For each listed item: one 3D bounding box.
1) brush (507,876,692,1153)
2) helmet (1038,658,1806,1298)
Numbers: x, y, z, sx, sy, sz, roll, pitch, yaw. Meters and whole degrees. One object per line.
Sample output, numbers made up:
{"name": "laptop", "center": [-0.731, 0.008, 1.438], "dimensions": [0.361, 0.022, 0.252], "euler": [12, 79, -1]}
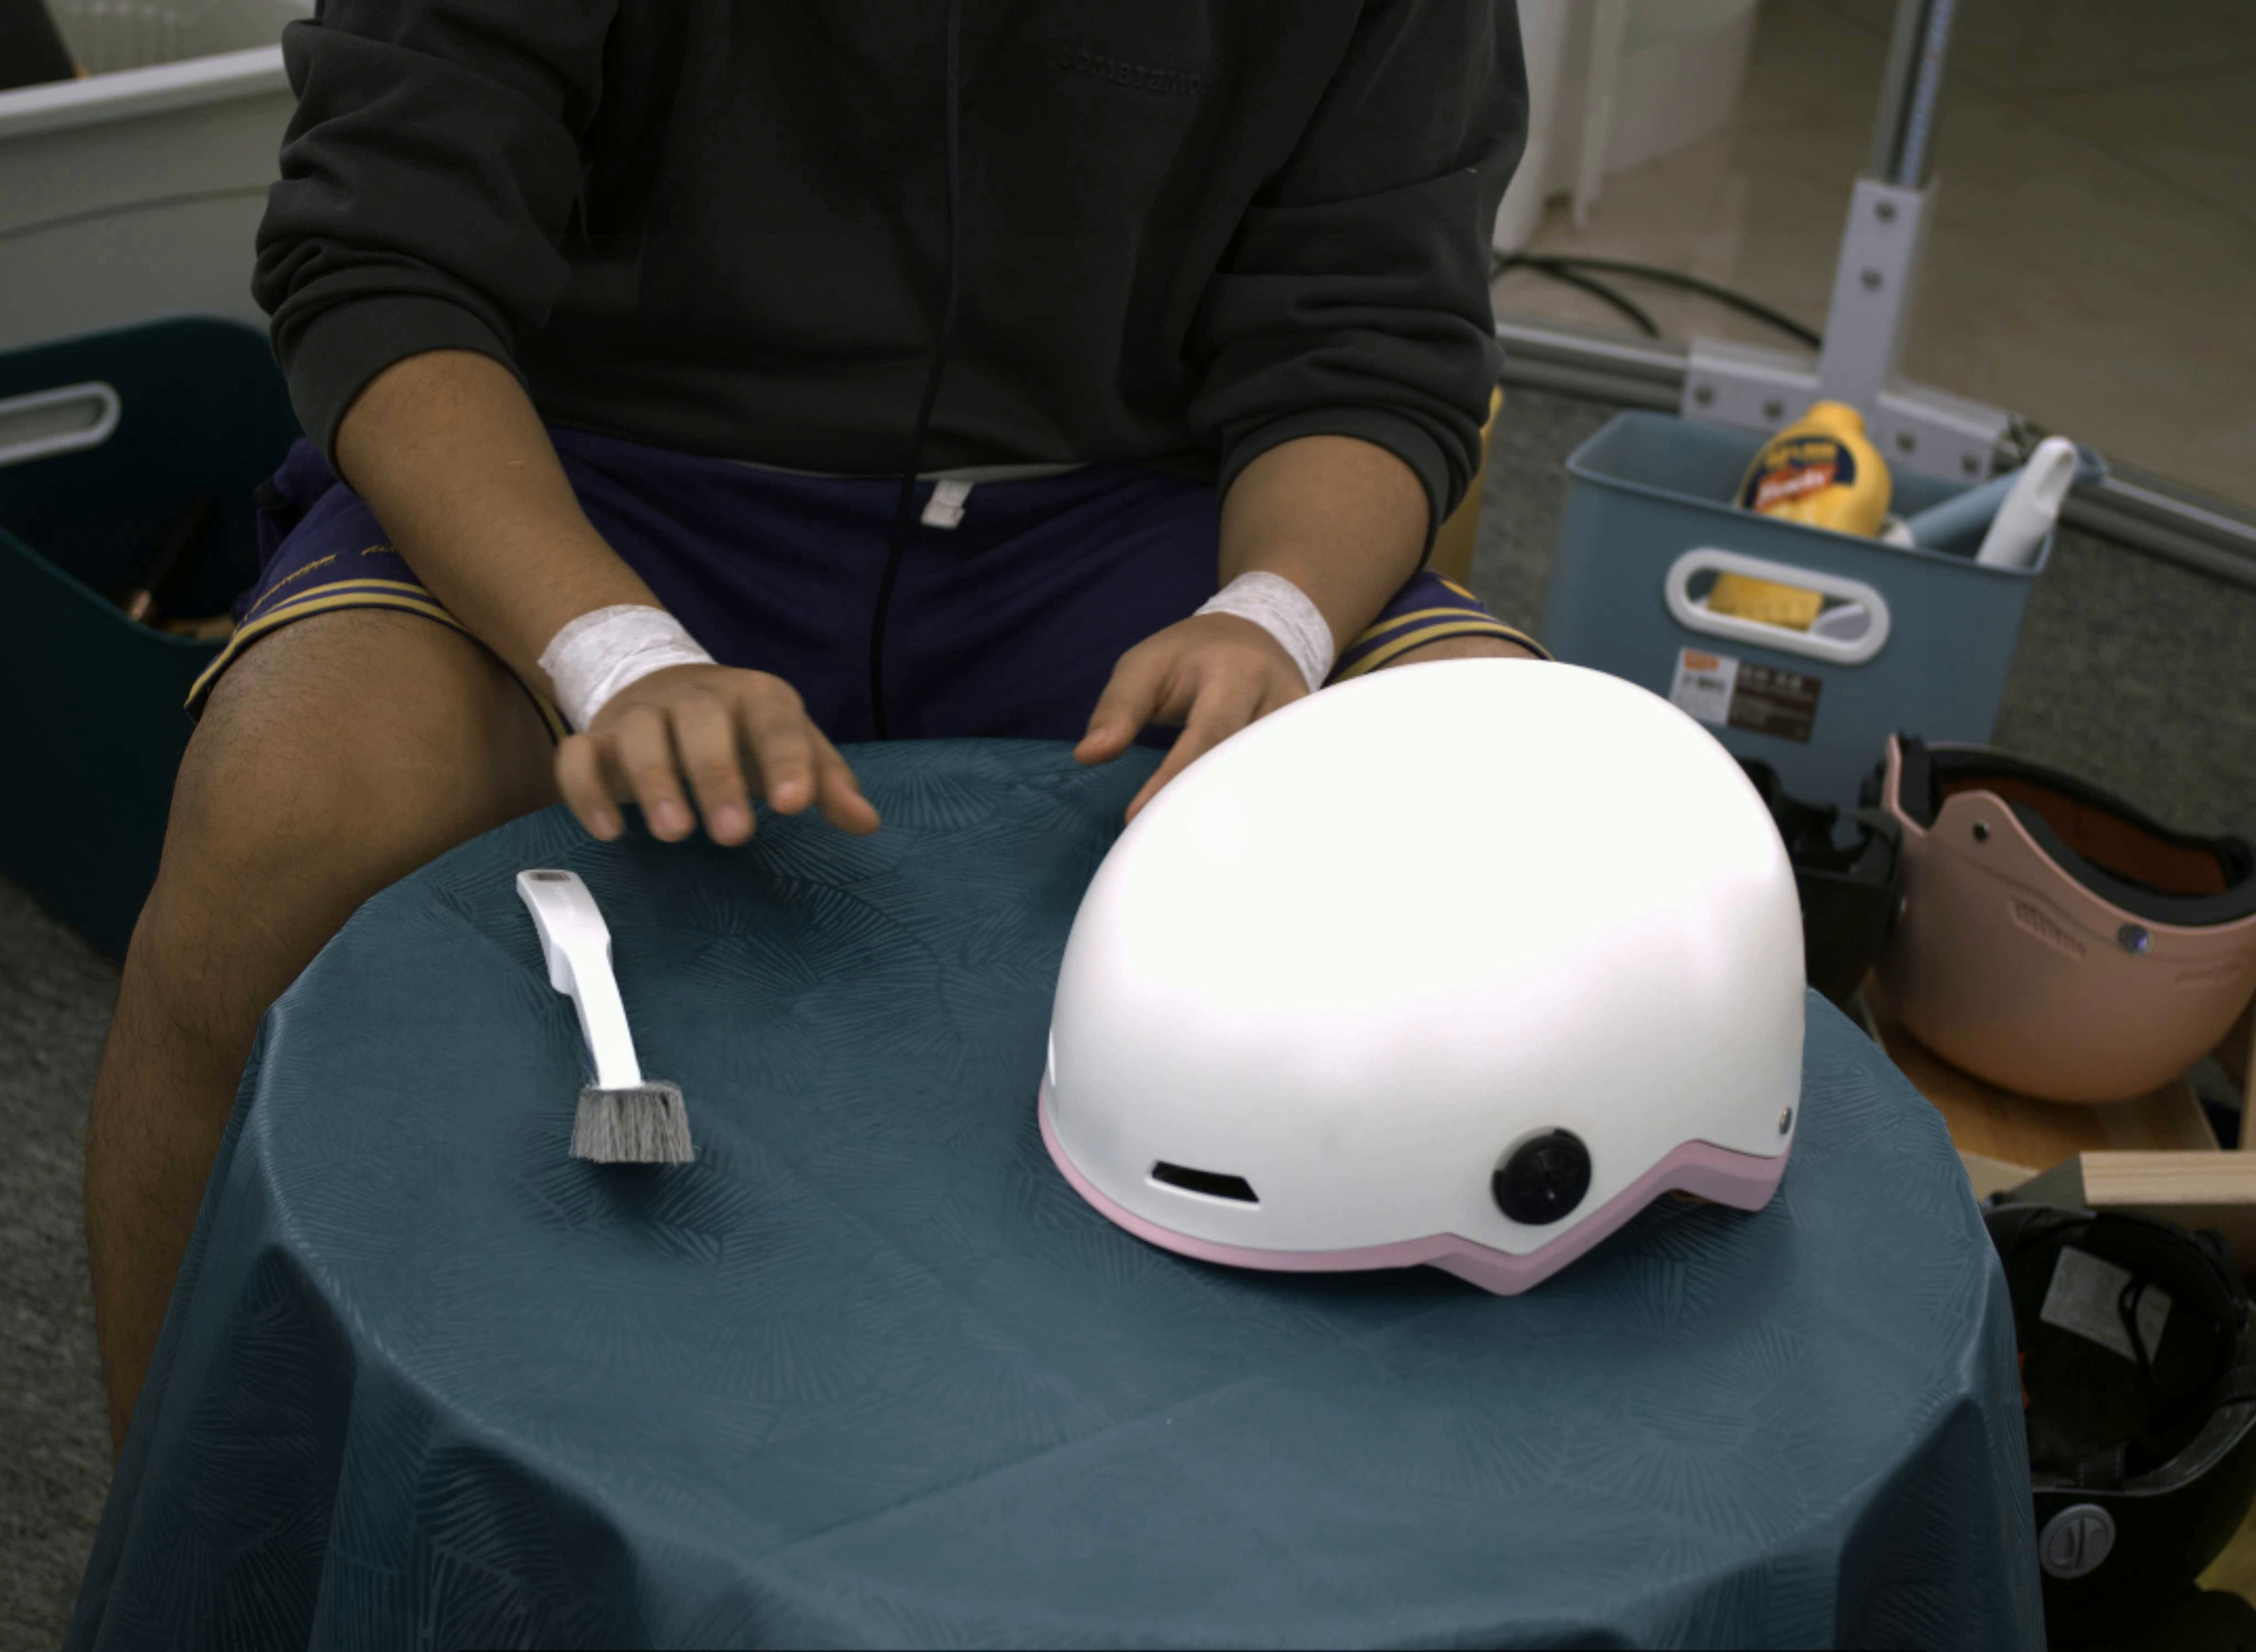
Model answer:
{"name": "brush", "center": [-0.187, 0.068, 1.843], "dimensions": [0.034, 0.050, 0.245], "euler": [-1, 15, -15]}
{"name": "helmet", "center": [0.108, 0.035, 1.820], "dimensions": [0.267, 0.166, 0.239], "euler": [-8, 31, -26]}
